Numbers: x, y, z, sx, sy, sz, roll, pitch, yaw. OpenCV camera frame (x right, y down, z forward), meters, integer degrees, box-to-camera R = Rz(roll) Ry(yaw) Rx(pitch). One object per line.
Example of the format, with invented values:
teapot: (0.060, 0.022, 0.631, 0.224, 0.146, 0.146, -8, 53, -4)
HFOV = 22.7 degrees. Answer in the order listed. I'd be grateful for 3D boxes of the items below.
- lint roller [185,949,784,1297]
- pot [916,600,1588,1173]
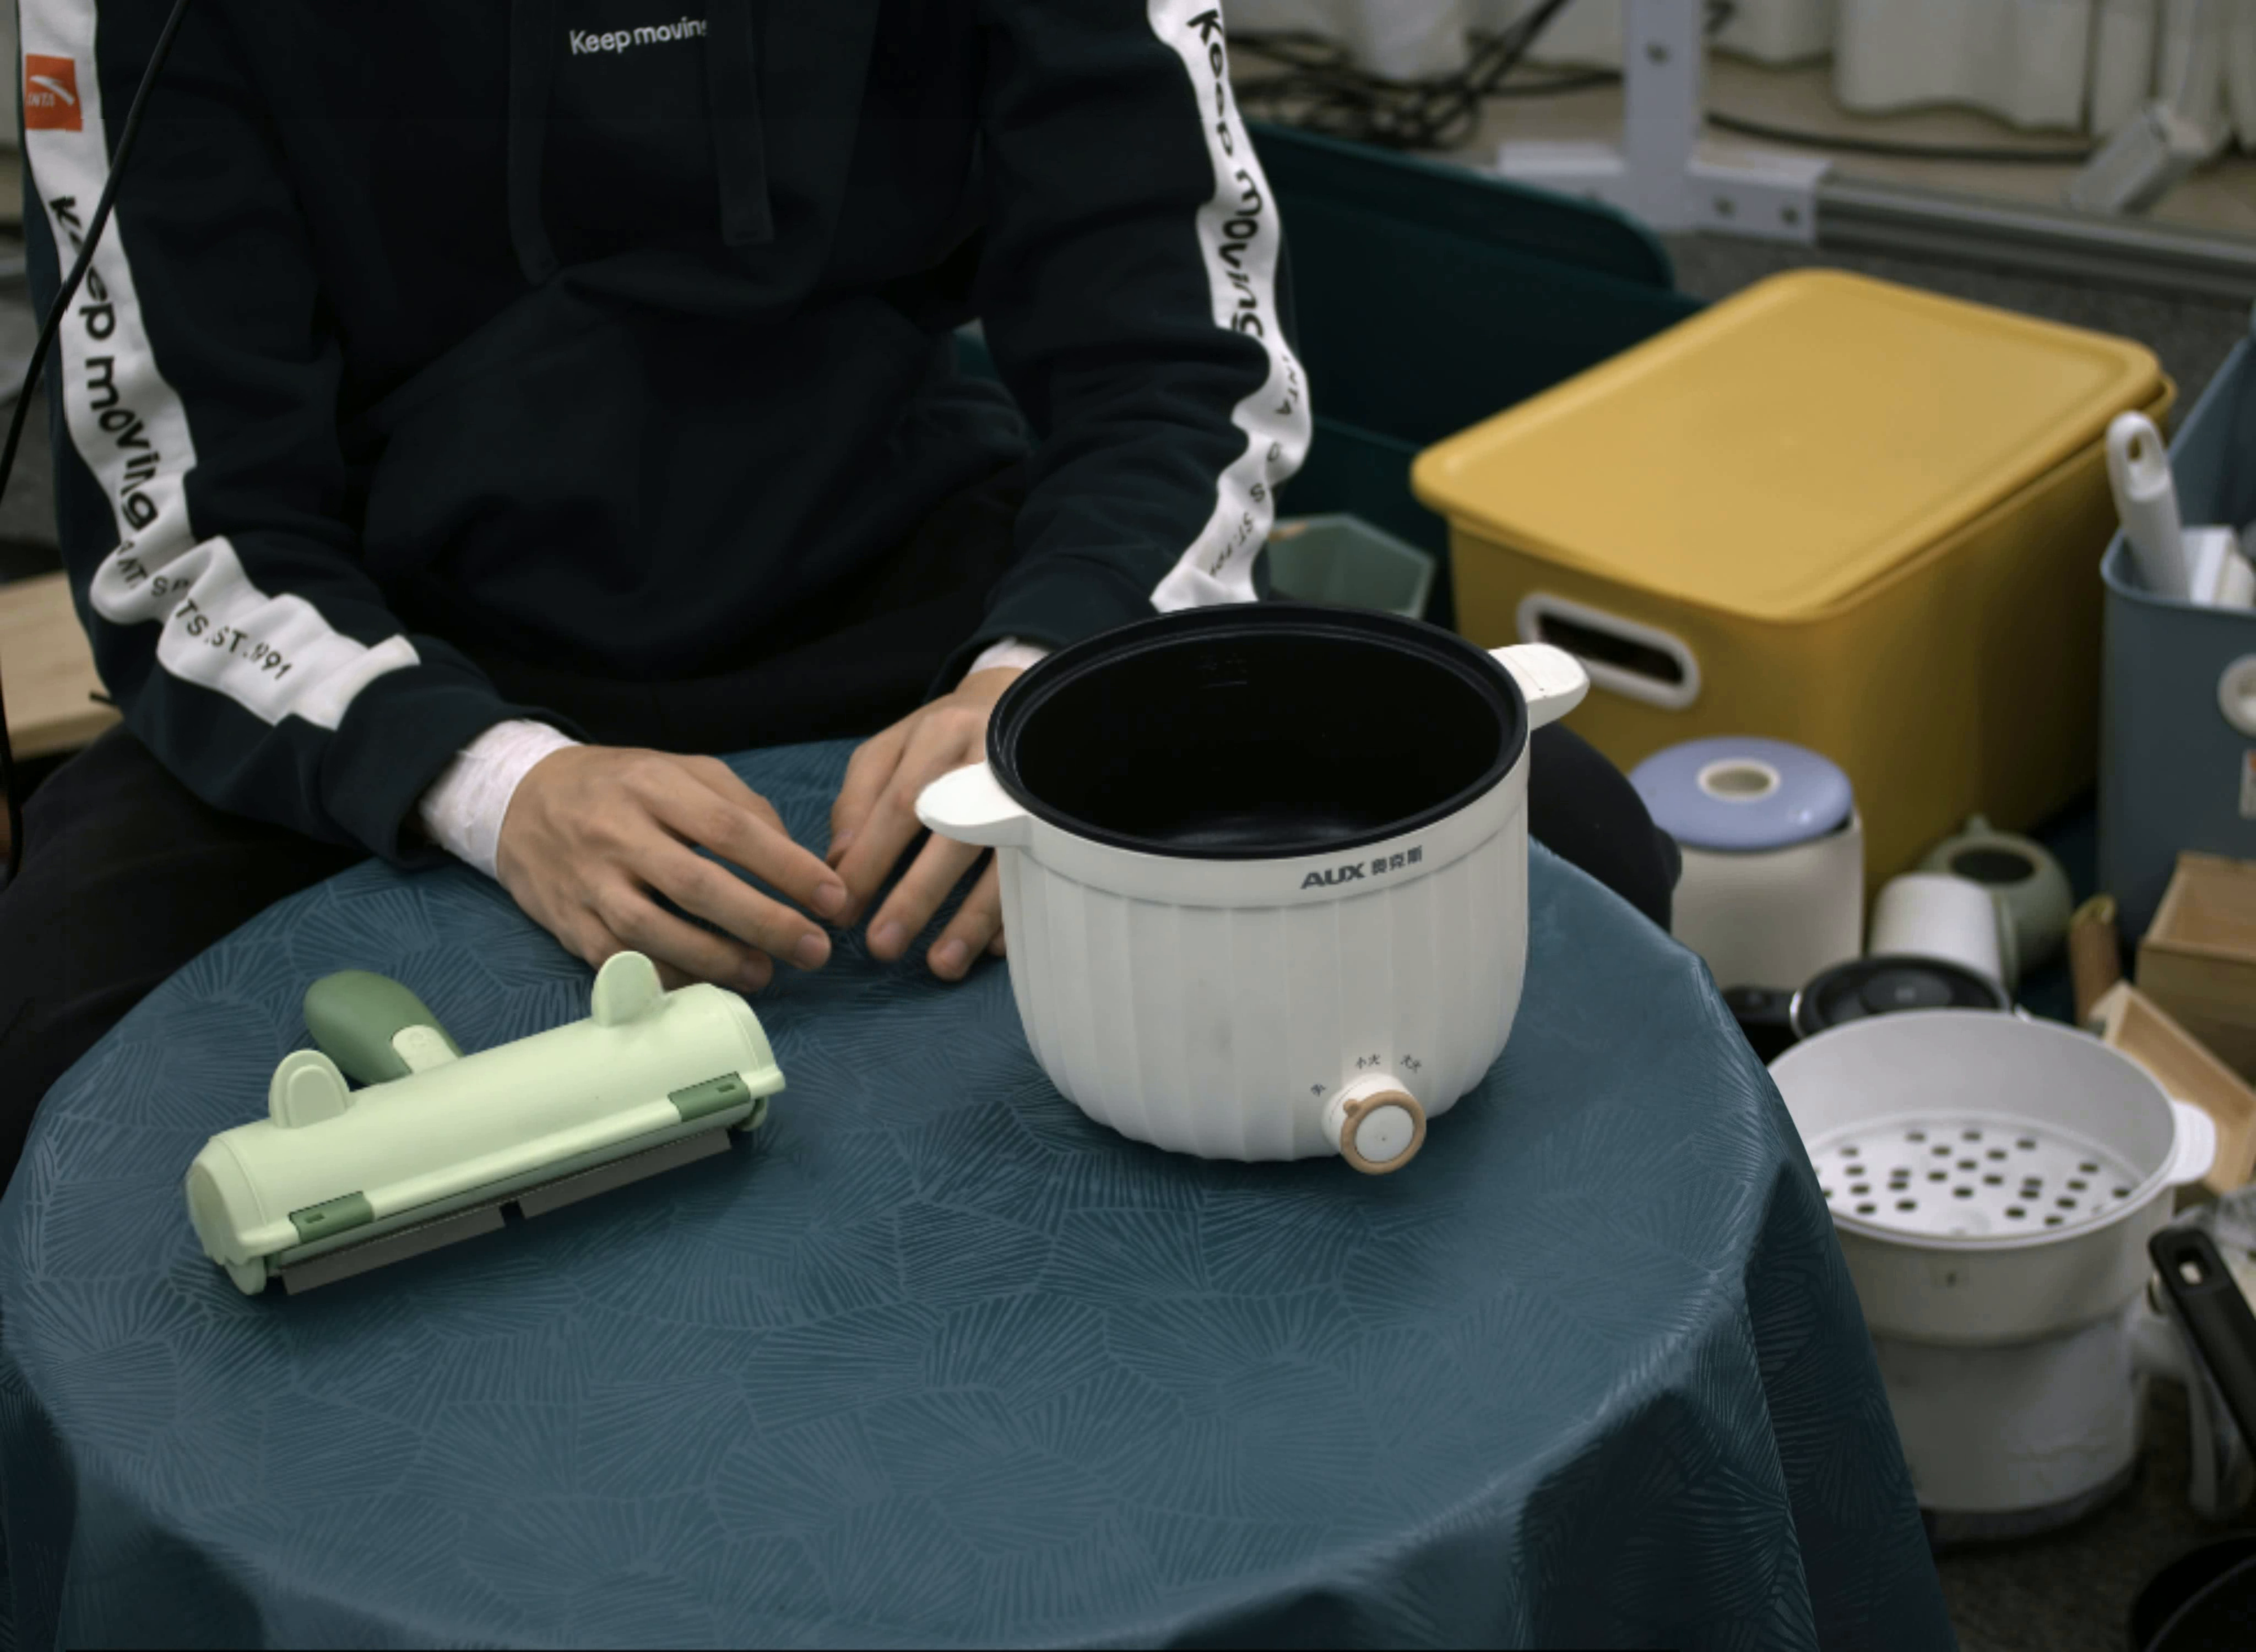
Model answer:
lint roller: (-0.240, 0.072, 1.899, 0.200, 0.081, 0.184, -17, 35, -25)
pot: (0.050, 0.026, 1.893, 0.241, 0.141, 0.192, -14, 26, -17)
